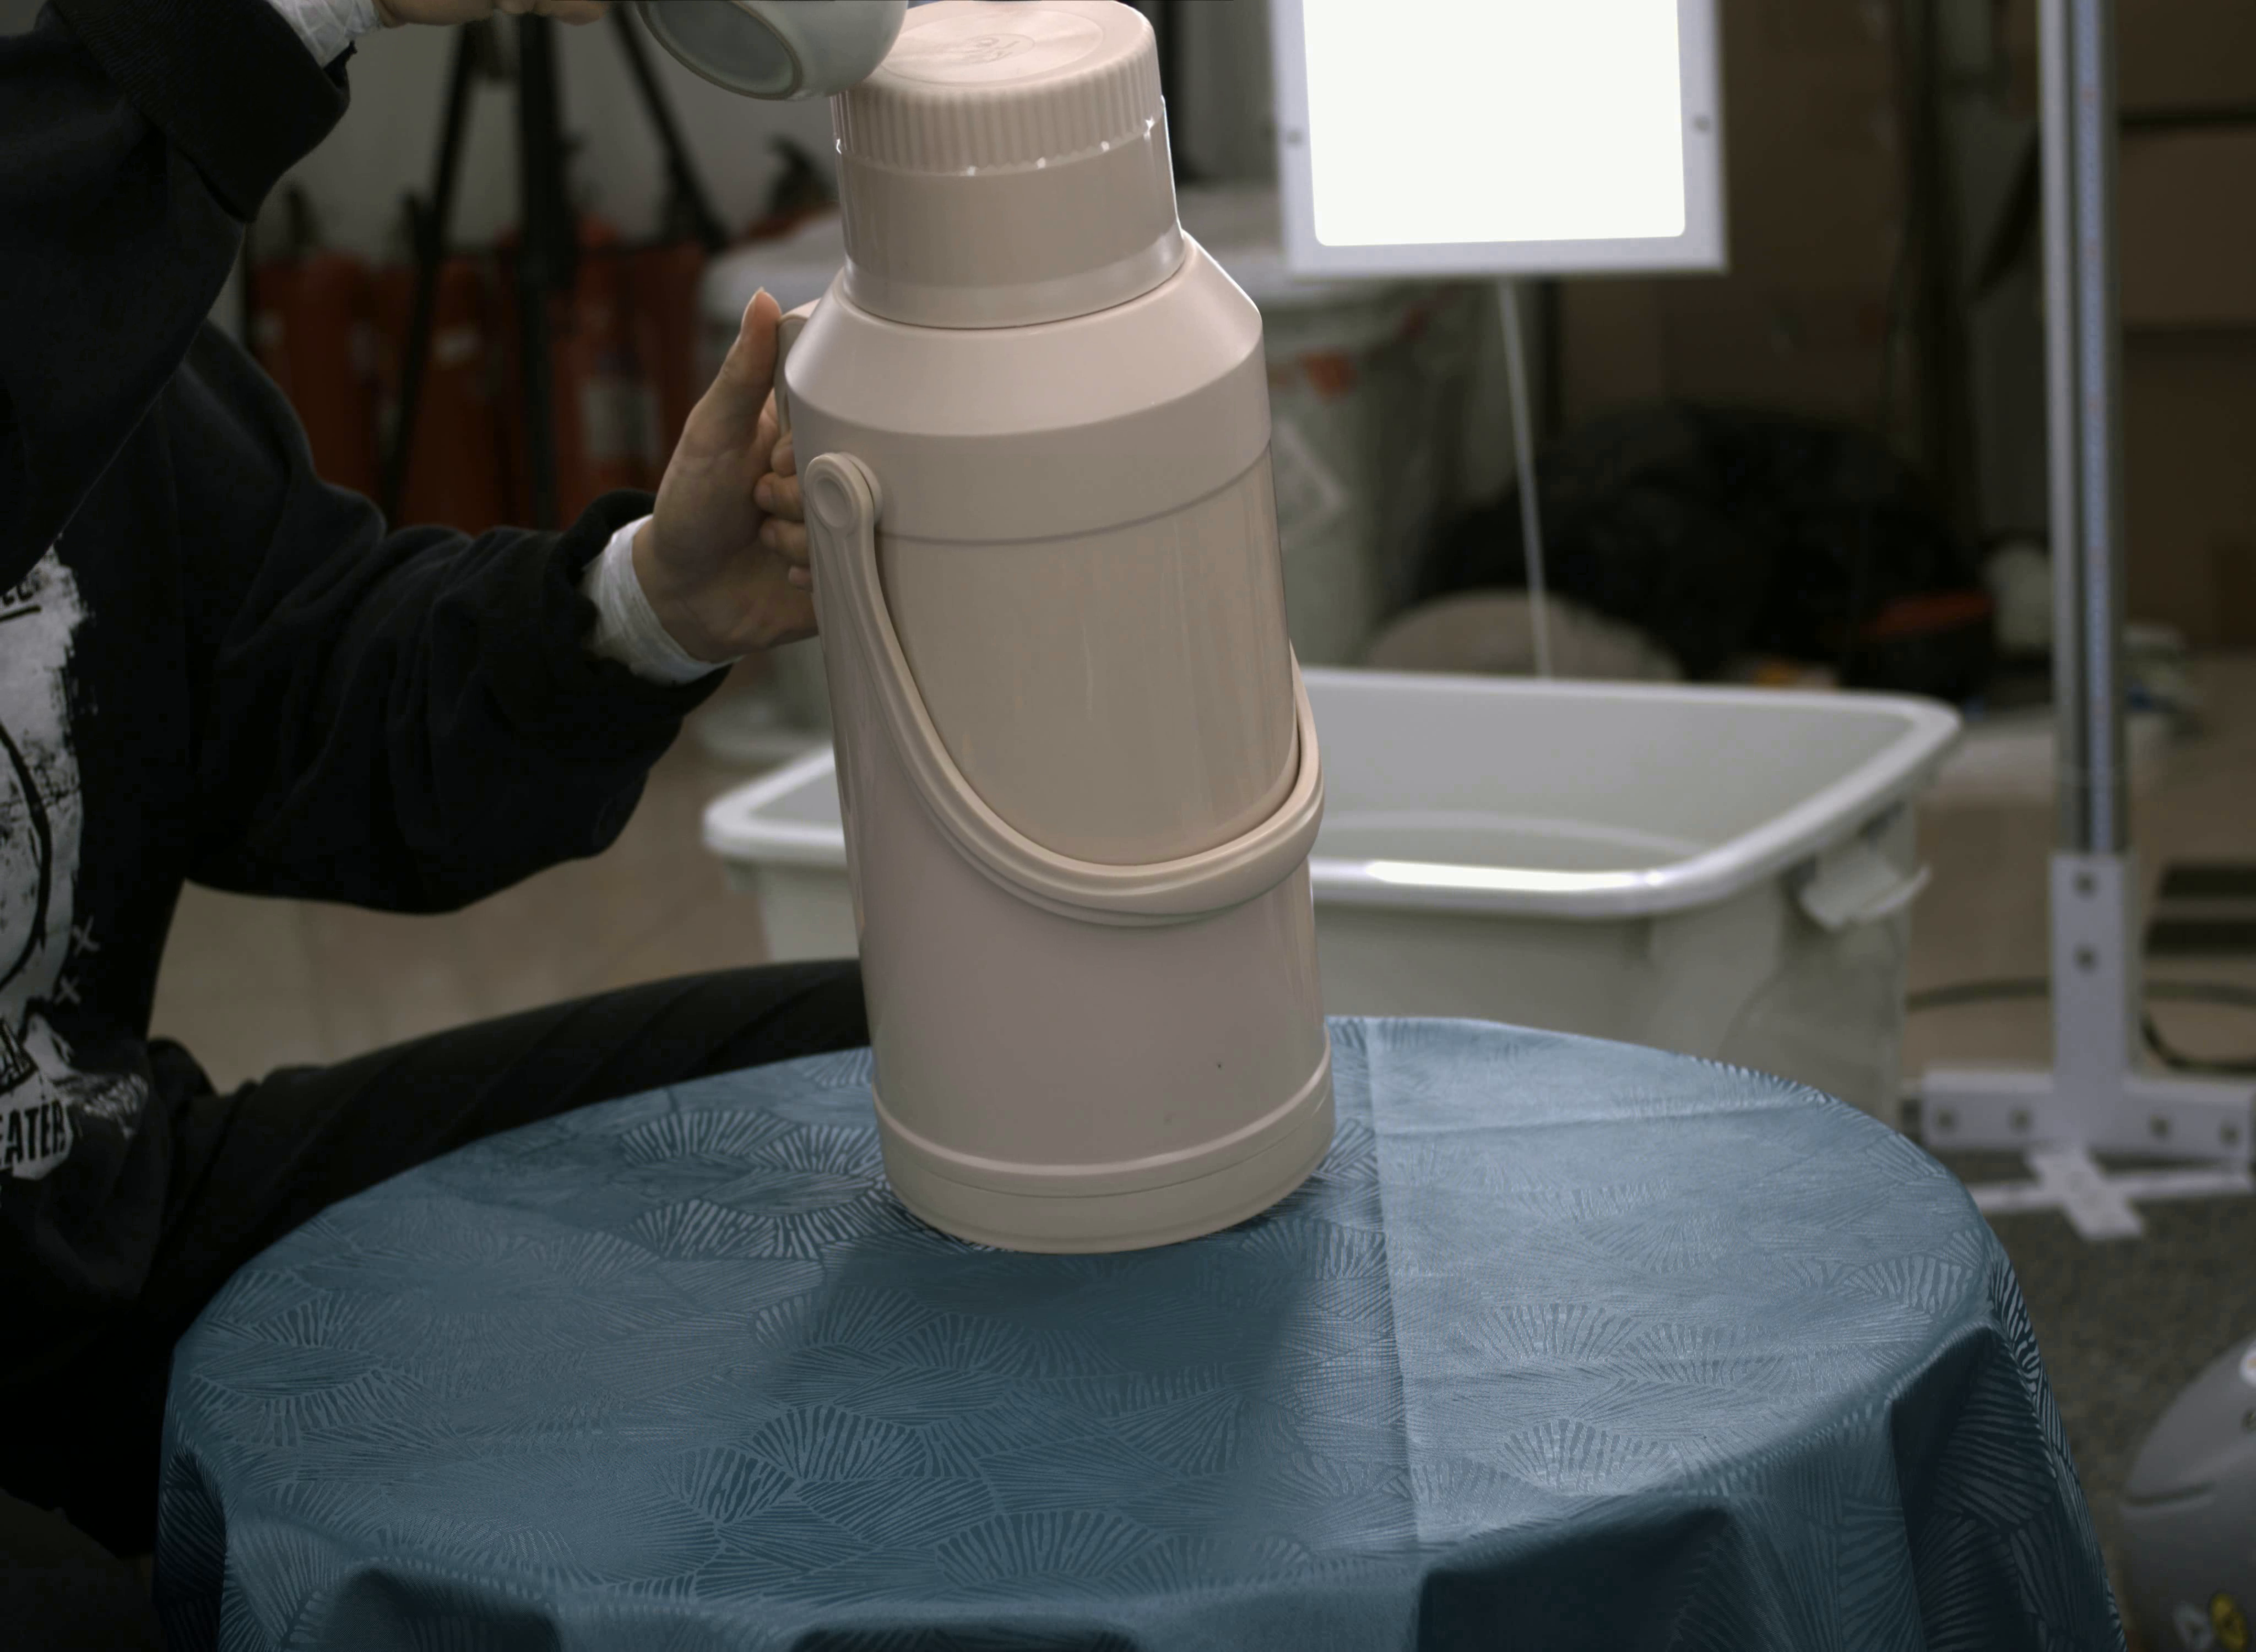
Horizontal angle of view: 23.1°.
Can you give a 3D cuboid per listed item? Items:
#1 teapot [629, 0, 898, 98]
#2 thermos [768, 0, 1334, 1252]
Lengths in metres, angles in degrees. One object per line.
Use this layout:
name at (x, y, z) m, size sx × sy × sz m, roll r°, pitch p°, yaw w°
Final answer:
teapot at (-0.118, -0.269, 1.679) m, size 0.094 × 0.126 × 0.059 m, roll 13°, pitch 64°, yaw 44°
thermos at (-0.034, -0.073, 1.834) m, size 0.171 × 0.407 × 0.211 m, roll -28°, pitch 33°, yaw -36°
